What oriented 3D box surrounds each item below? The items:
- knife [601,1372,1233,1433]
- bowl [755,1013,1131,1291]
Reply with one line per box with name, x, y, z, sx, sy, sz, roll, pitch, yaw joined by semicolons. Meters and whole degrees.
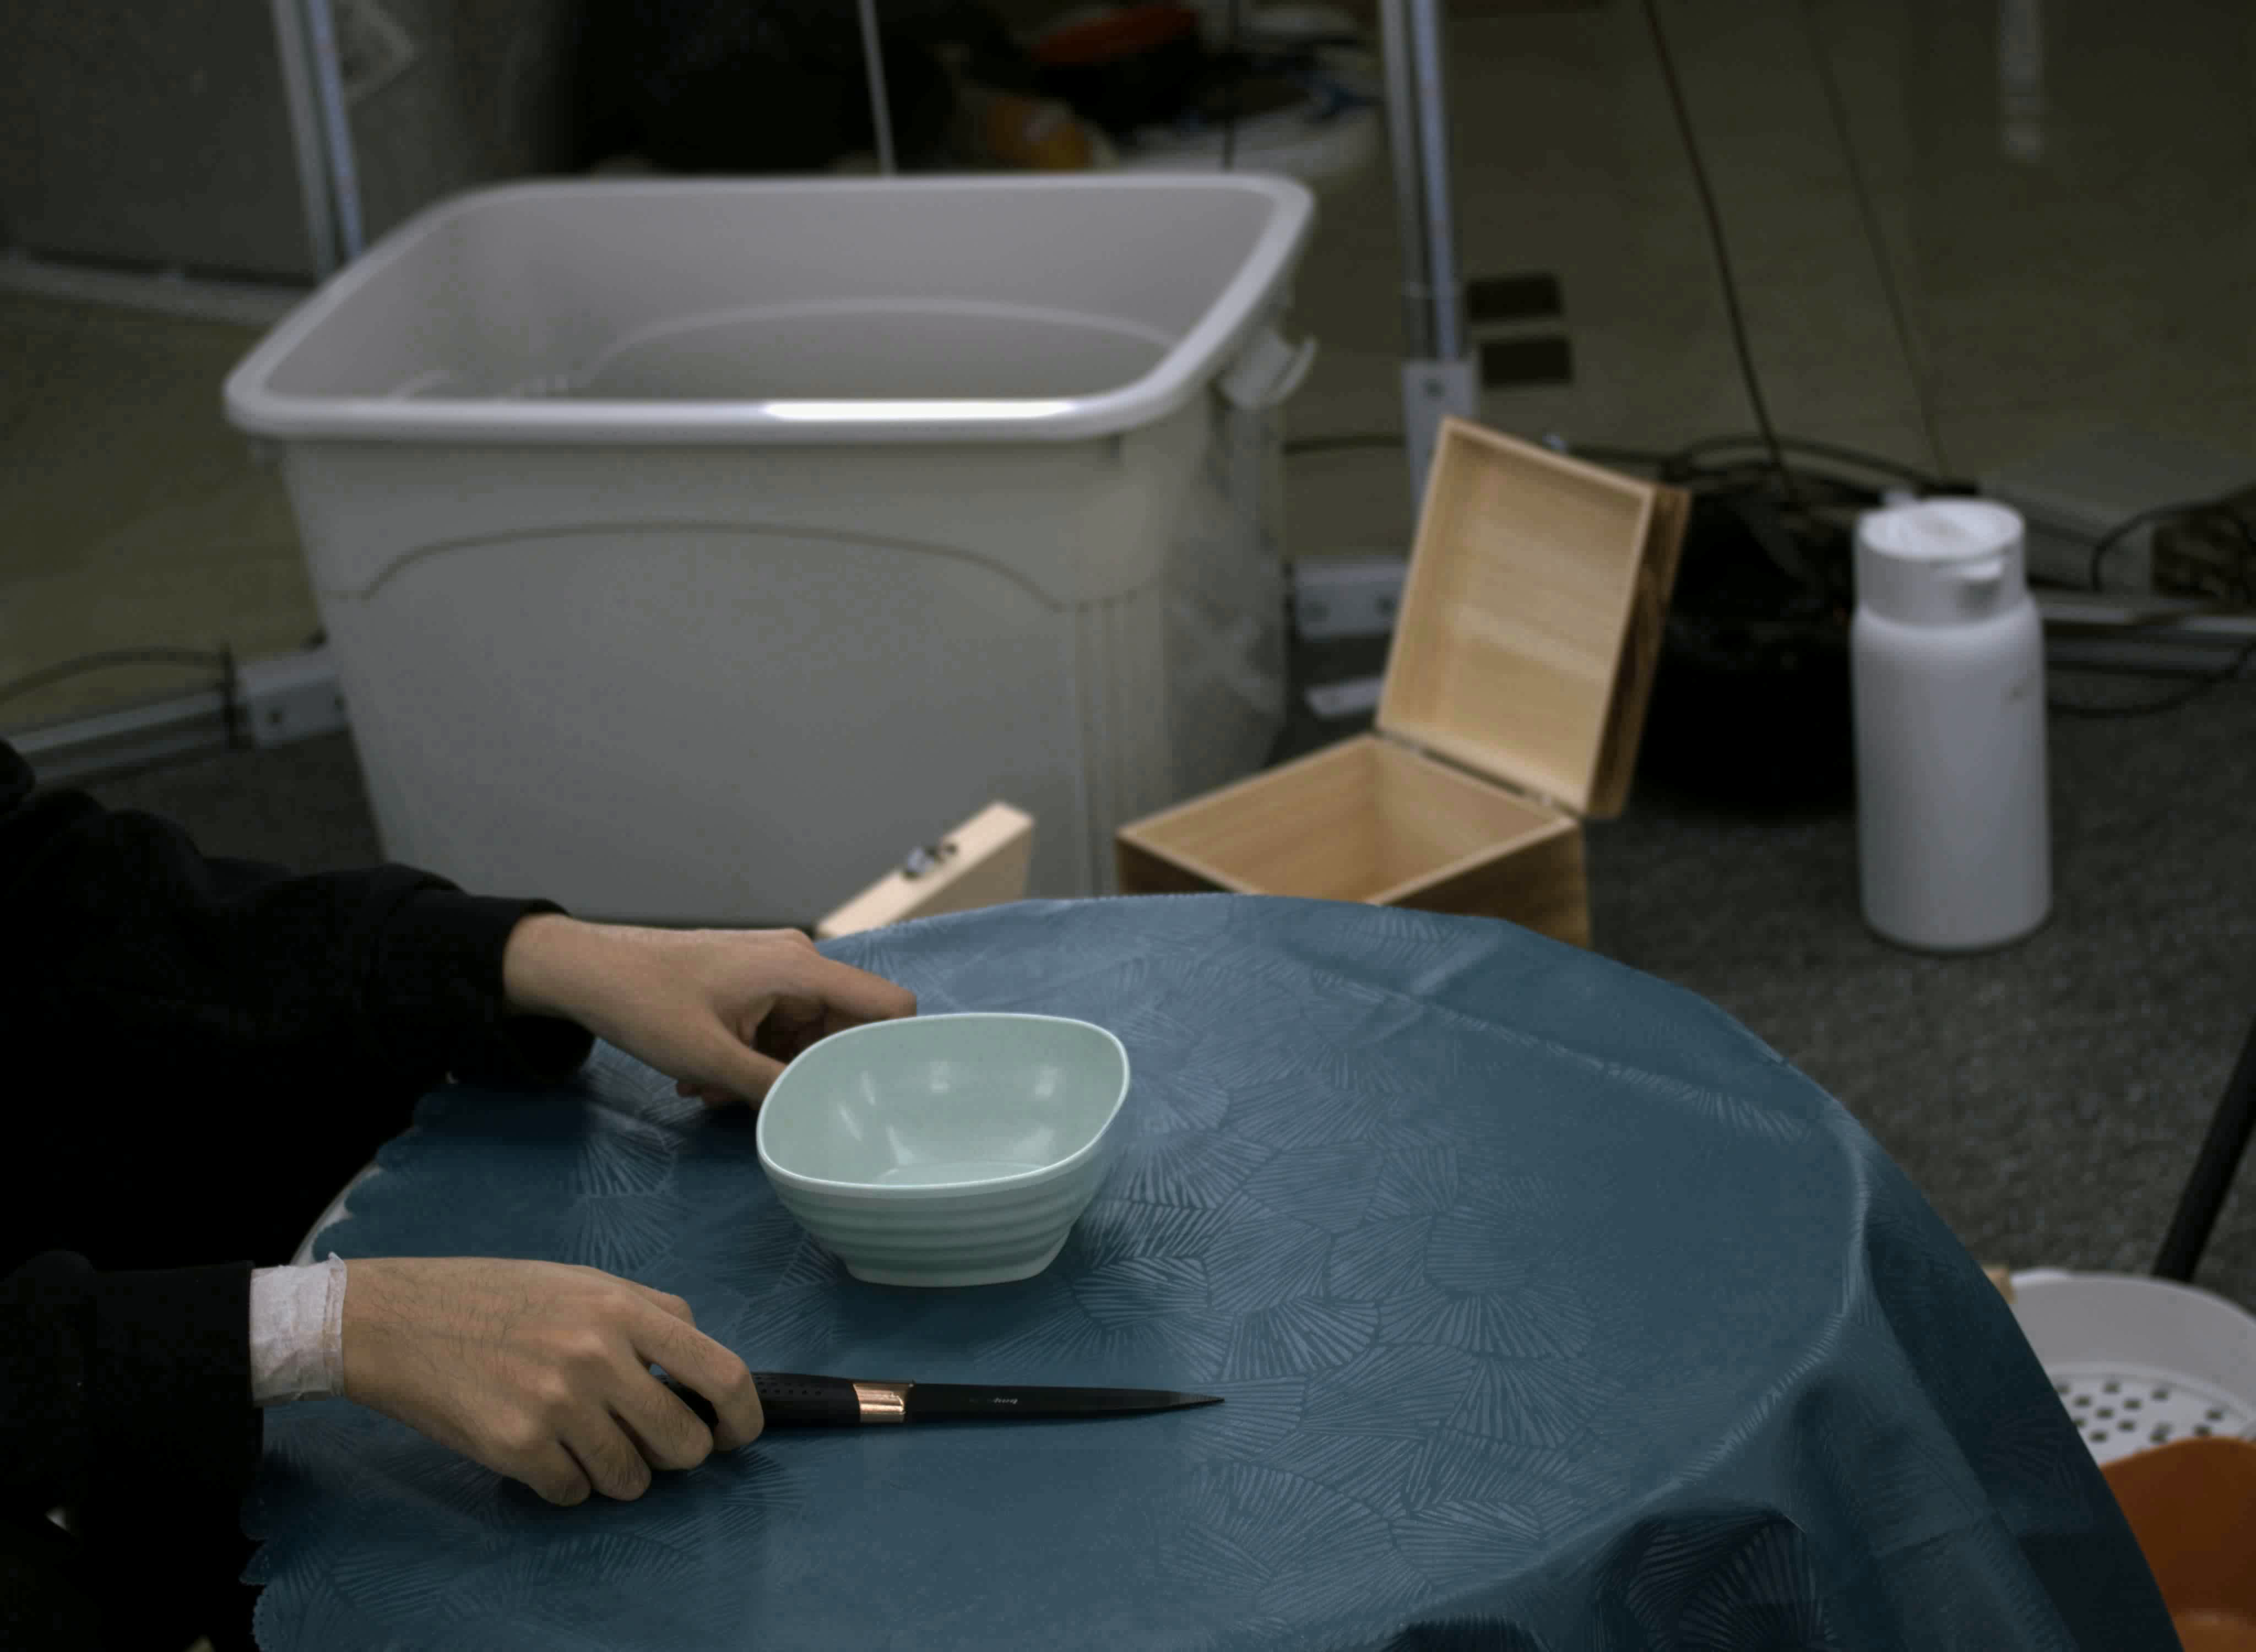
knife;-0.075;0.203;2.016;0.225;0.017;0.026;-3;18;5
bowl;-0.066;0.128;2.121;0.151;0.059;0.149;-5;27;3
